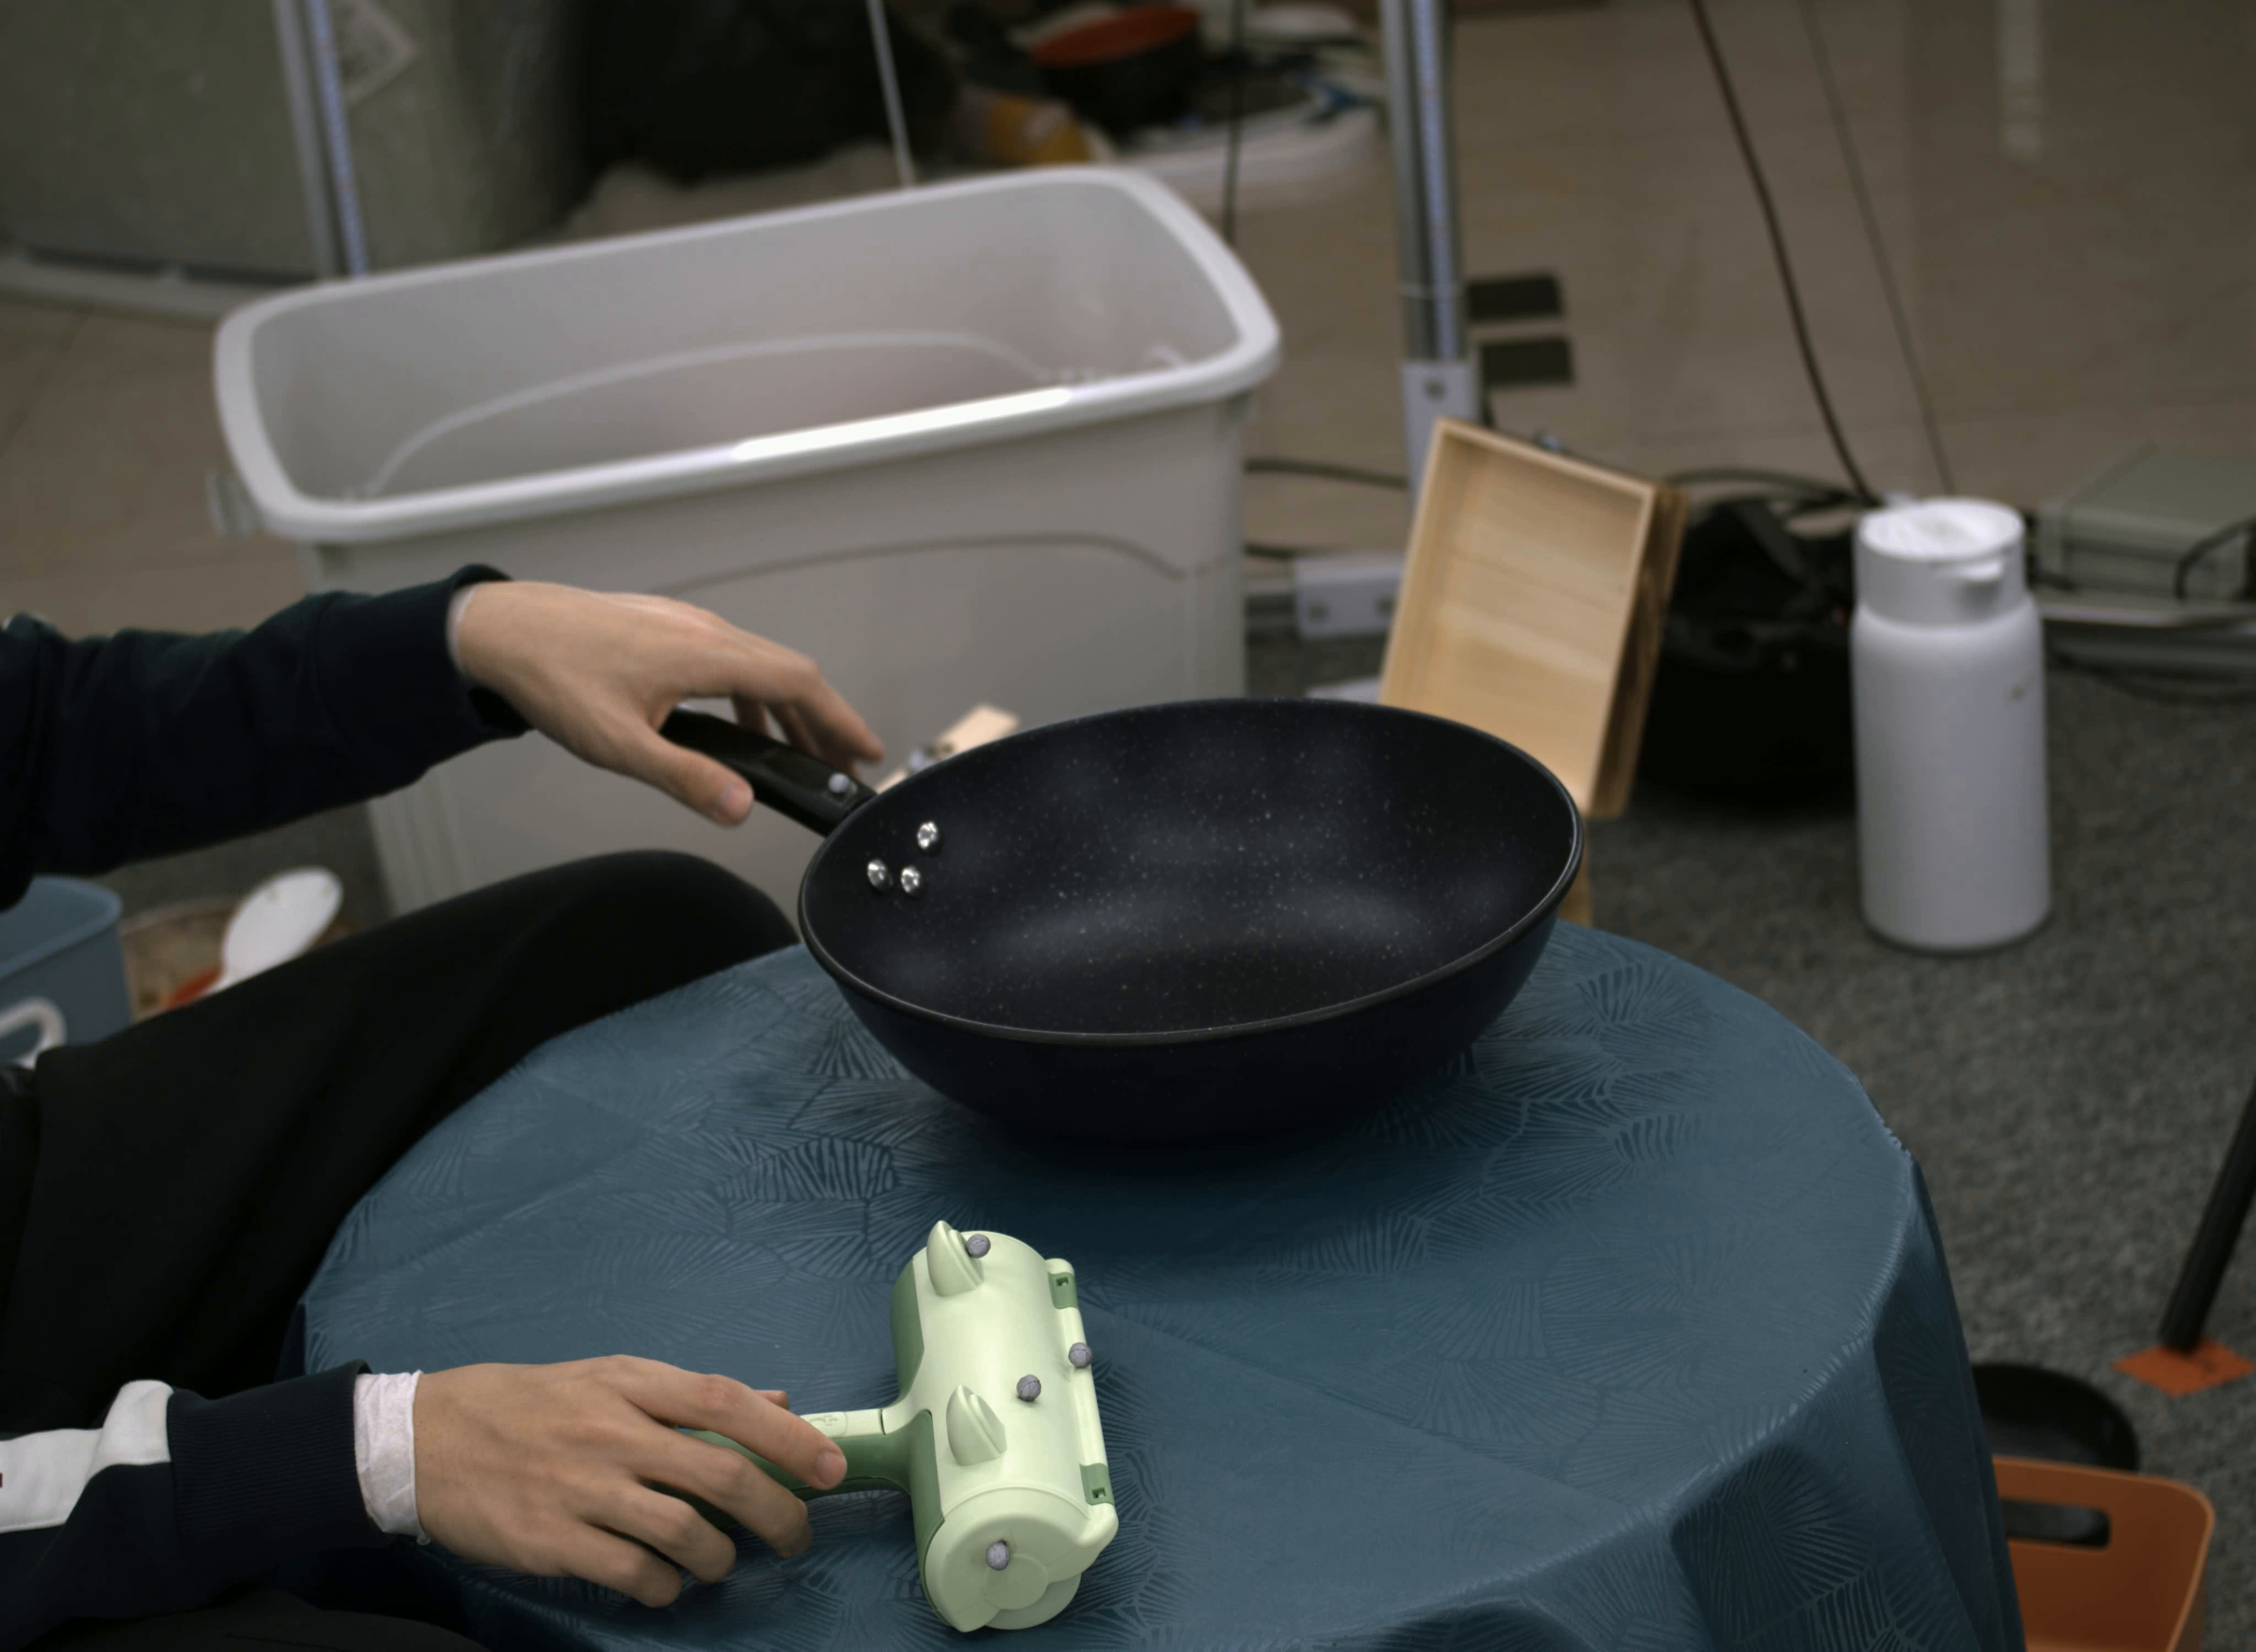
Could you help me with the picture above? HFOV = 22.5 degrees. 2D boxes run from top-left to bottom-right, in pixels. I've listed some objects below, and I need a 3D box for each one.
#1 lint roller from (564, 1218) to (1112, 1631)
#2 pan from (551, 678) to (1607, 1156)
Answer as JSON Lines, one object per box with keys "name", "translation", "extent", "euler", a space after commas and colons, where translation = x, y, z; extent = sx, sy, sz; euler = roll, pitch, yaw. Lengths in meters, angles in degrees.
{"name": "lint roller", "translation": [-0.103, 0.201, 1.945], "extent": [0.183, 0.083, 0.195], "euler": [-3, 25, -4]}
{"name": "pan", "translation": [-0.036, 0.029, 2.262], "extent": [0.474, 0.113, 0.307], "euler": [11, 29, 32]}
